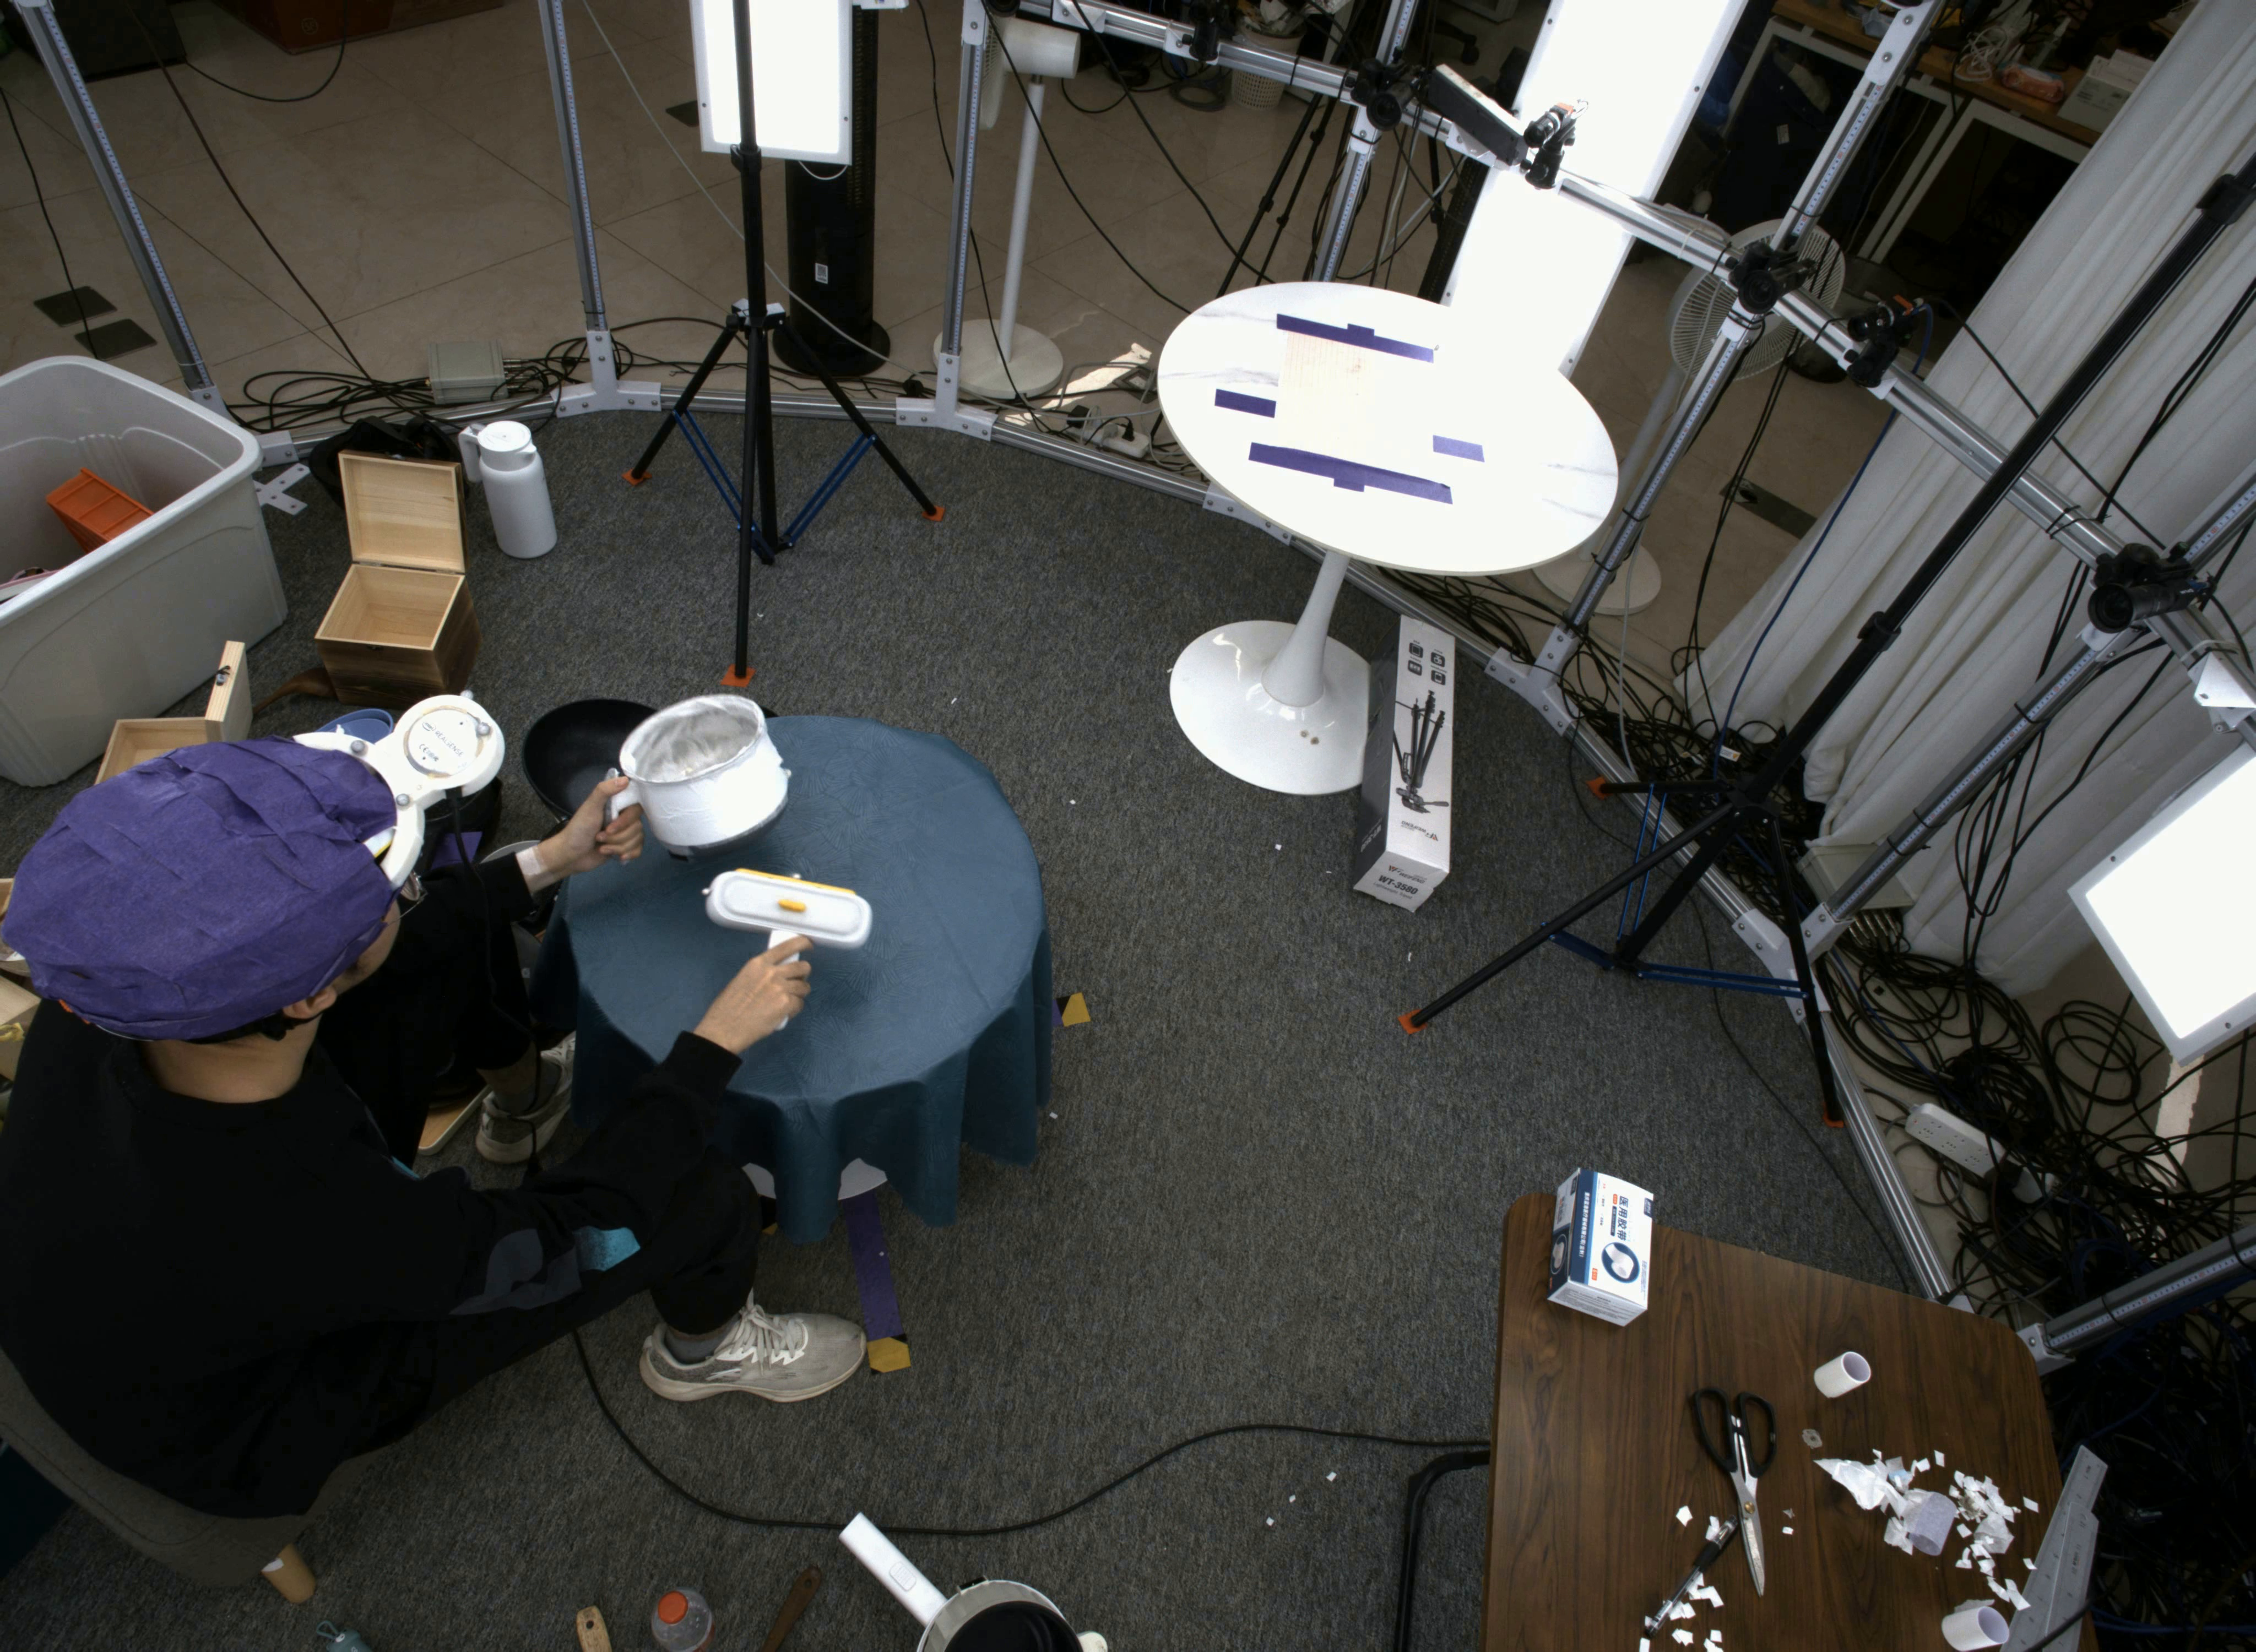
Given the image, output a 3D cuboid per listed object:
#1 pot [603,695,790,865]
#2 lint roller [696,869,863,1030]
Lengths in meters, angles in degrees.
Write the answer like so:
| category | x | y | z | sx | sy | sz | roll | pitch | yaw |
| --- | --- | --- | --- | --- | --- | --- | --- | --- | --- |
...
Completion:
| category | x | y | z | sx | sy | sz | roll | pitch | yaw |
| --- | --- | --- | --- | --- | --- | --- | --- | --- | --- |
| pot | -0.535 | -0.047 | 1.566 | 0.234 | 0.141 | 0.172 | -27 | 39 | -22 |
| lint roller | -0.405 | 0.145 | 1.501 | 0.195 | 0.074 | 0.190 | 10 | 65 | -23 |
